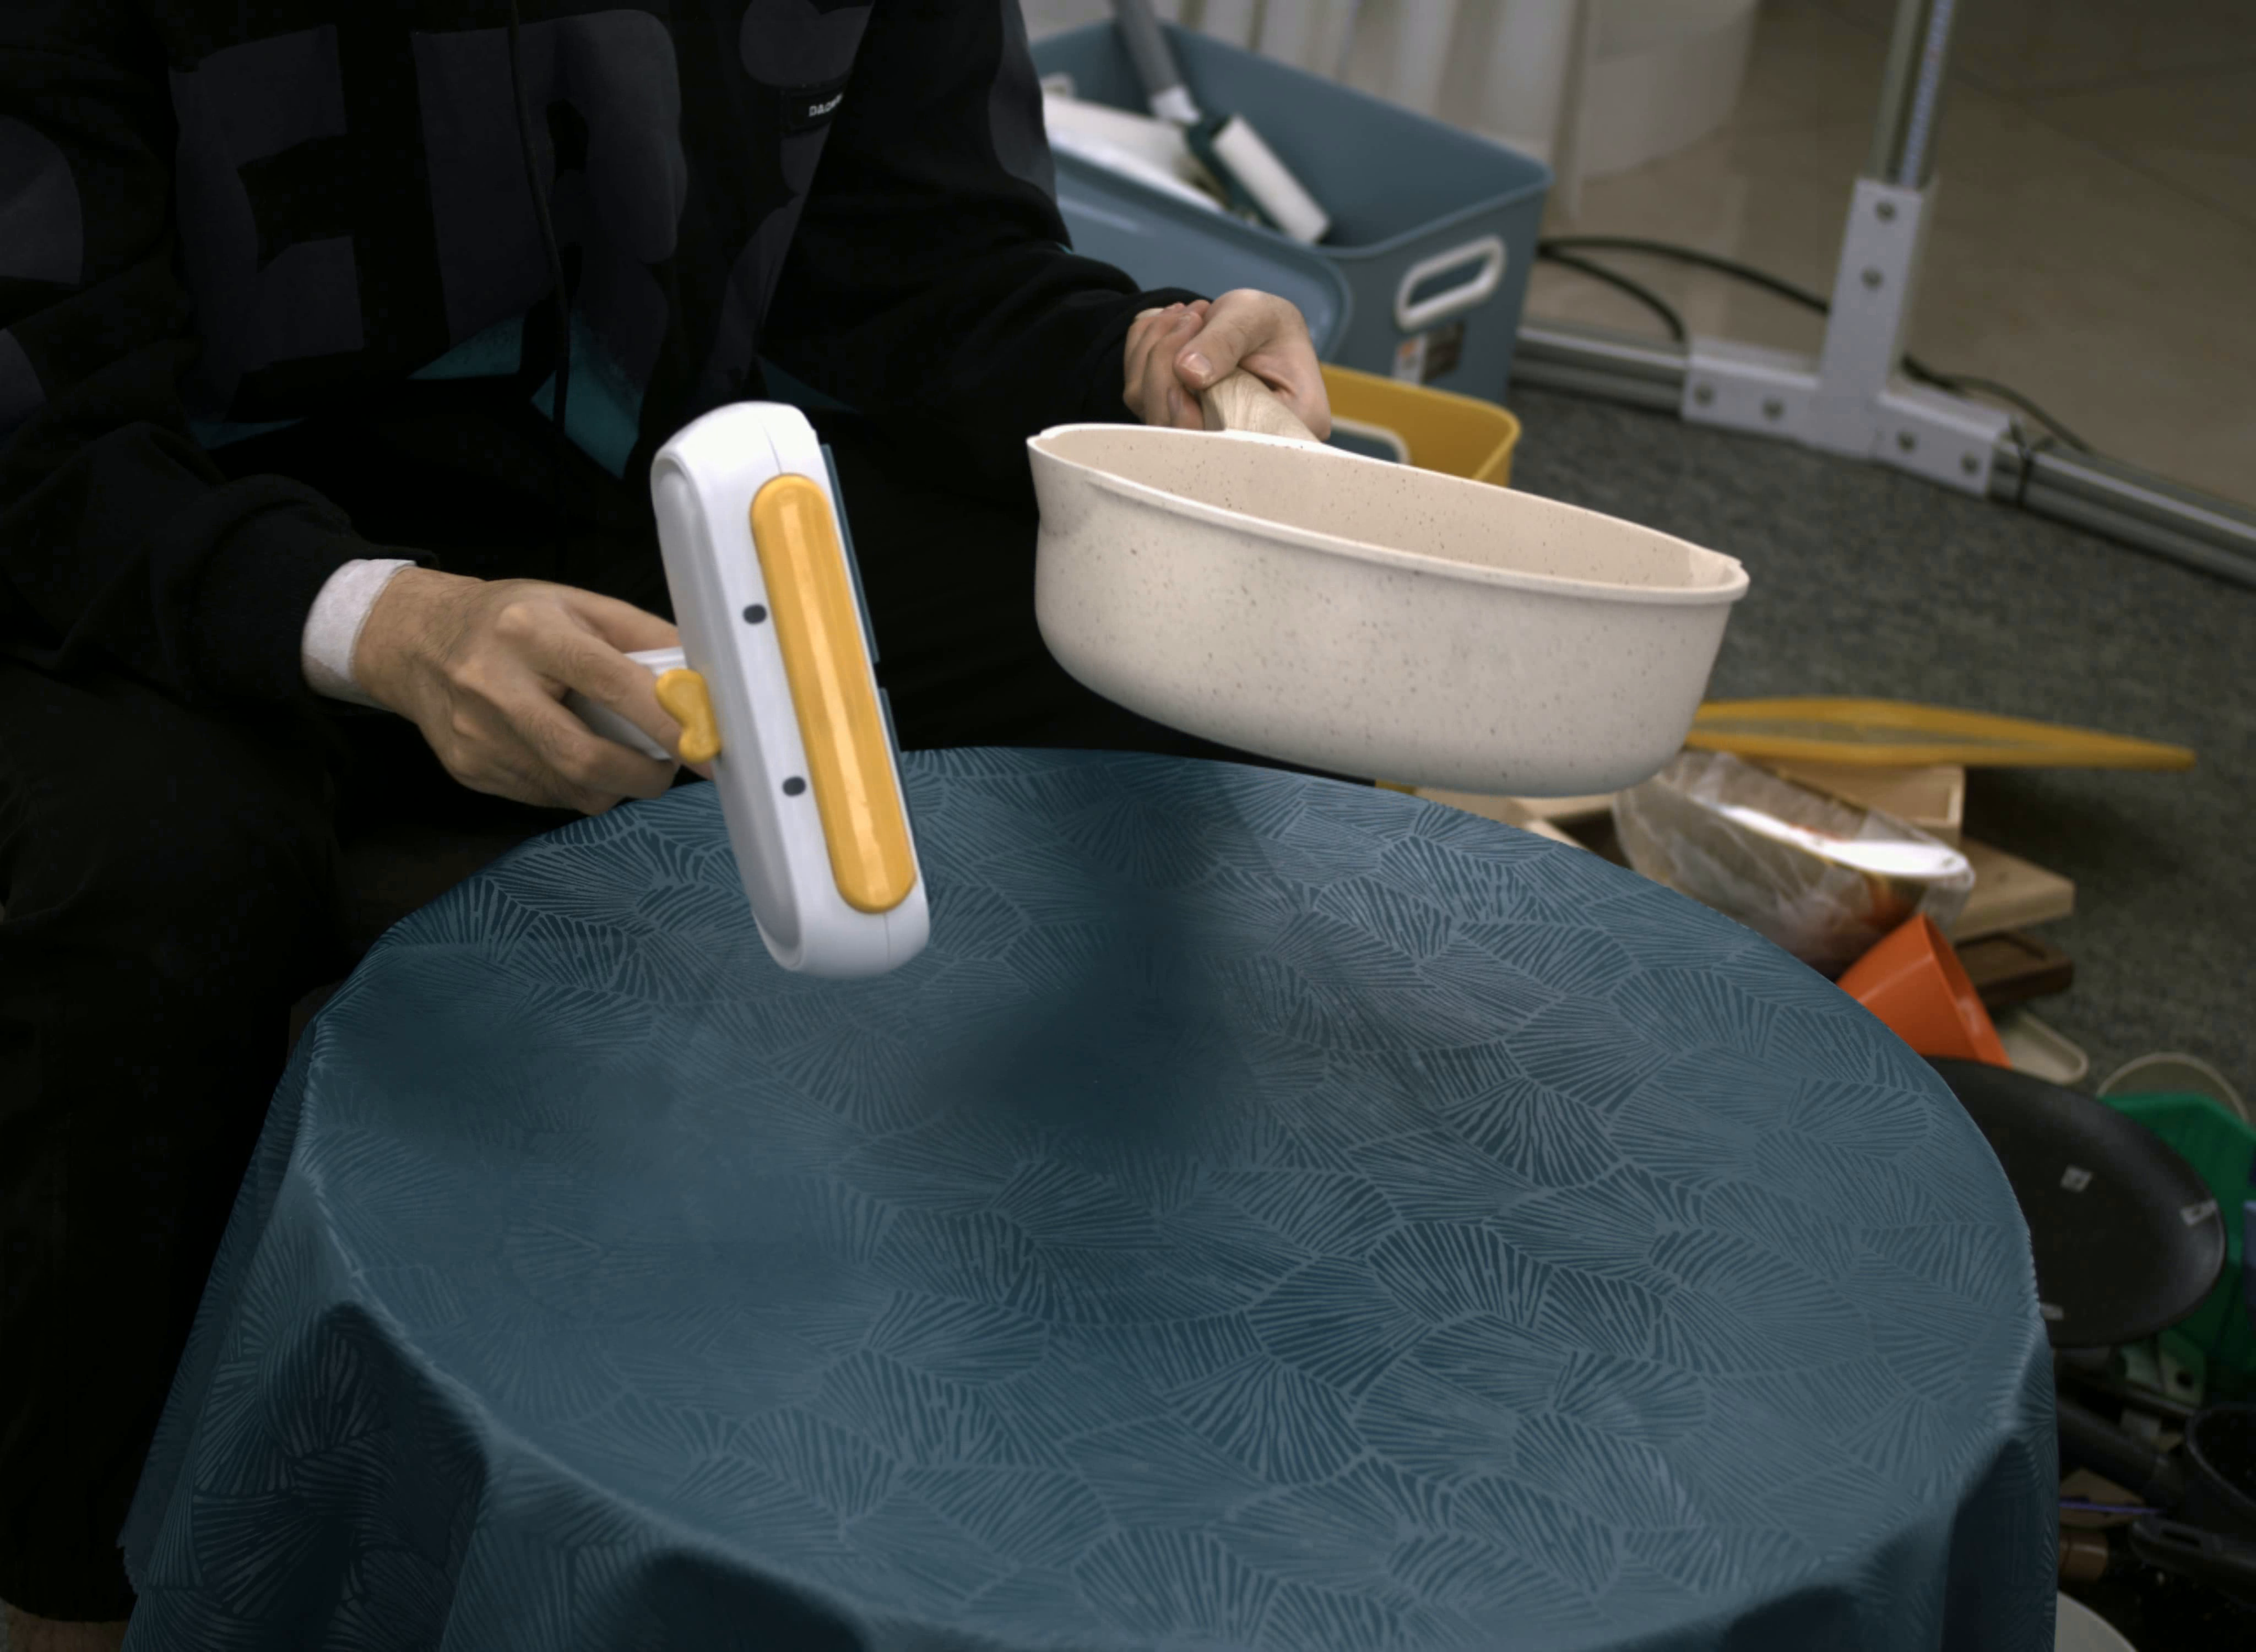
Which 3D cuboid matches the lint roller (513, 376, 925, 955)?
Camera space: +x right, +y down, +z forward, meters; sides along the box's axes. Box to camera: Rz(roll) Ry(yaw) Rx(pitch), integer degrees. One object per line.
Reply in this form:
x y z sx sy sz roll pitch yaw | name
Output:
-0.146 -0.045 1.788 0.074 0.193 0.193 -21 6 -27 | lint roller

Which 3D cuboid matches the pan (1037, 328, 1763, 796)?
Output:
0.065 -0.100 1.932 0.261 0.102 0.437 5 12 -17 | pan
